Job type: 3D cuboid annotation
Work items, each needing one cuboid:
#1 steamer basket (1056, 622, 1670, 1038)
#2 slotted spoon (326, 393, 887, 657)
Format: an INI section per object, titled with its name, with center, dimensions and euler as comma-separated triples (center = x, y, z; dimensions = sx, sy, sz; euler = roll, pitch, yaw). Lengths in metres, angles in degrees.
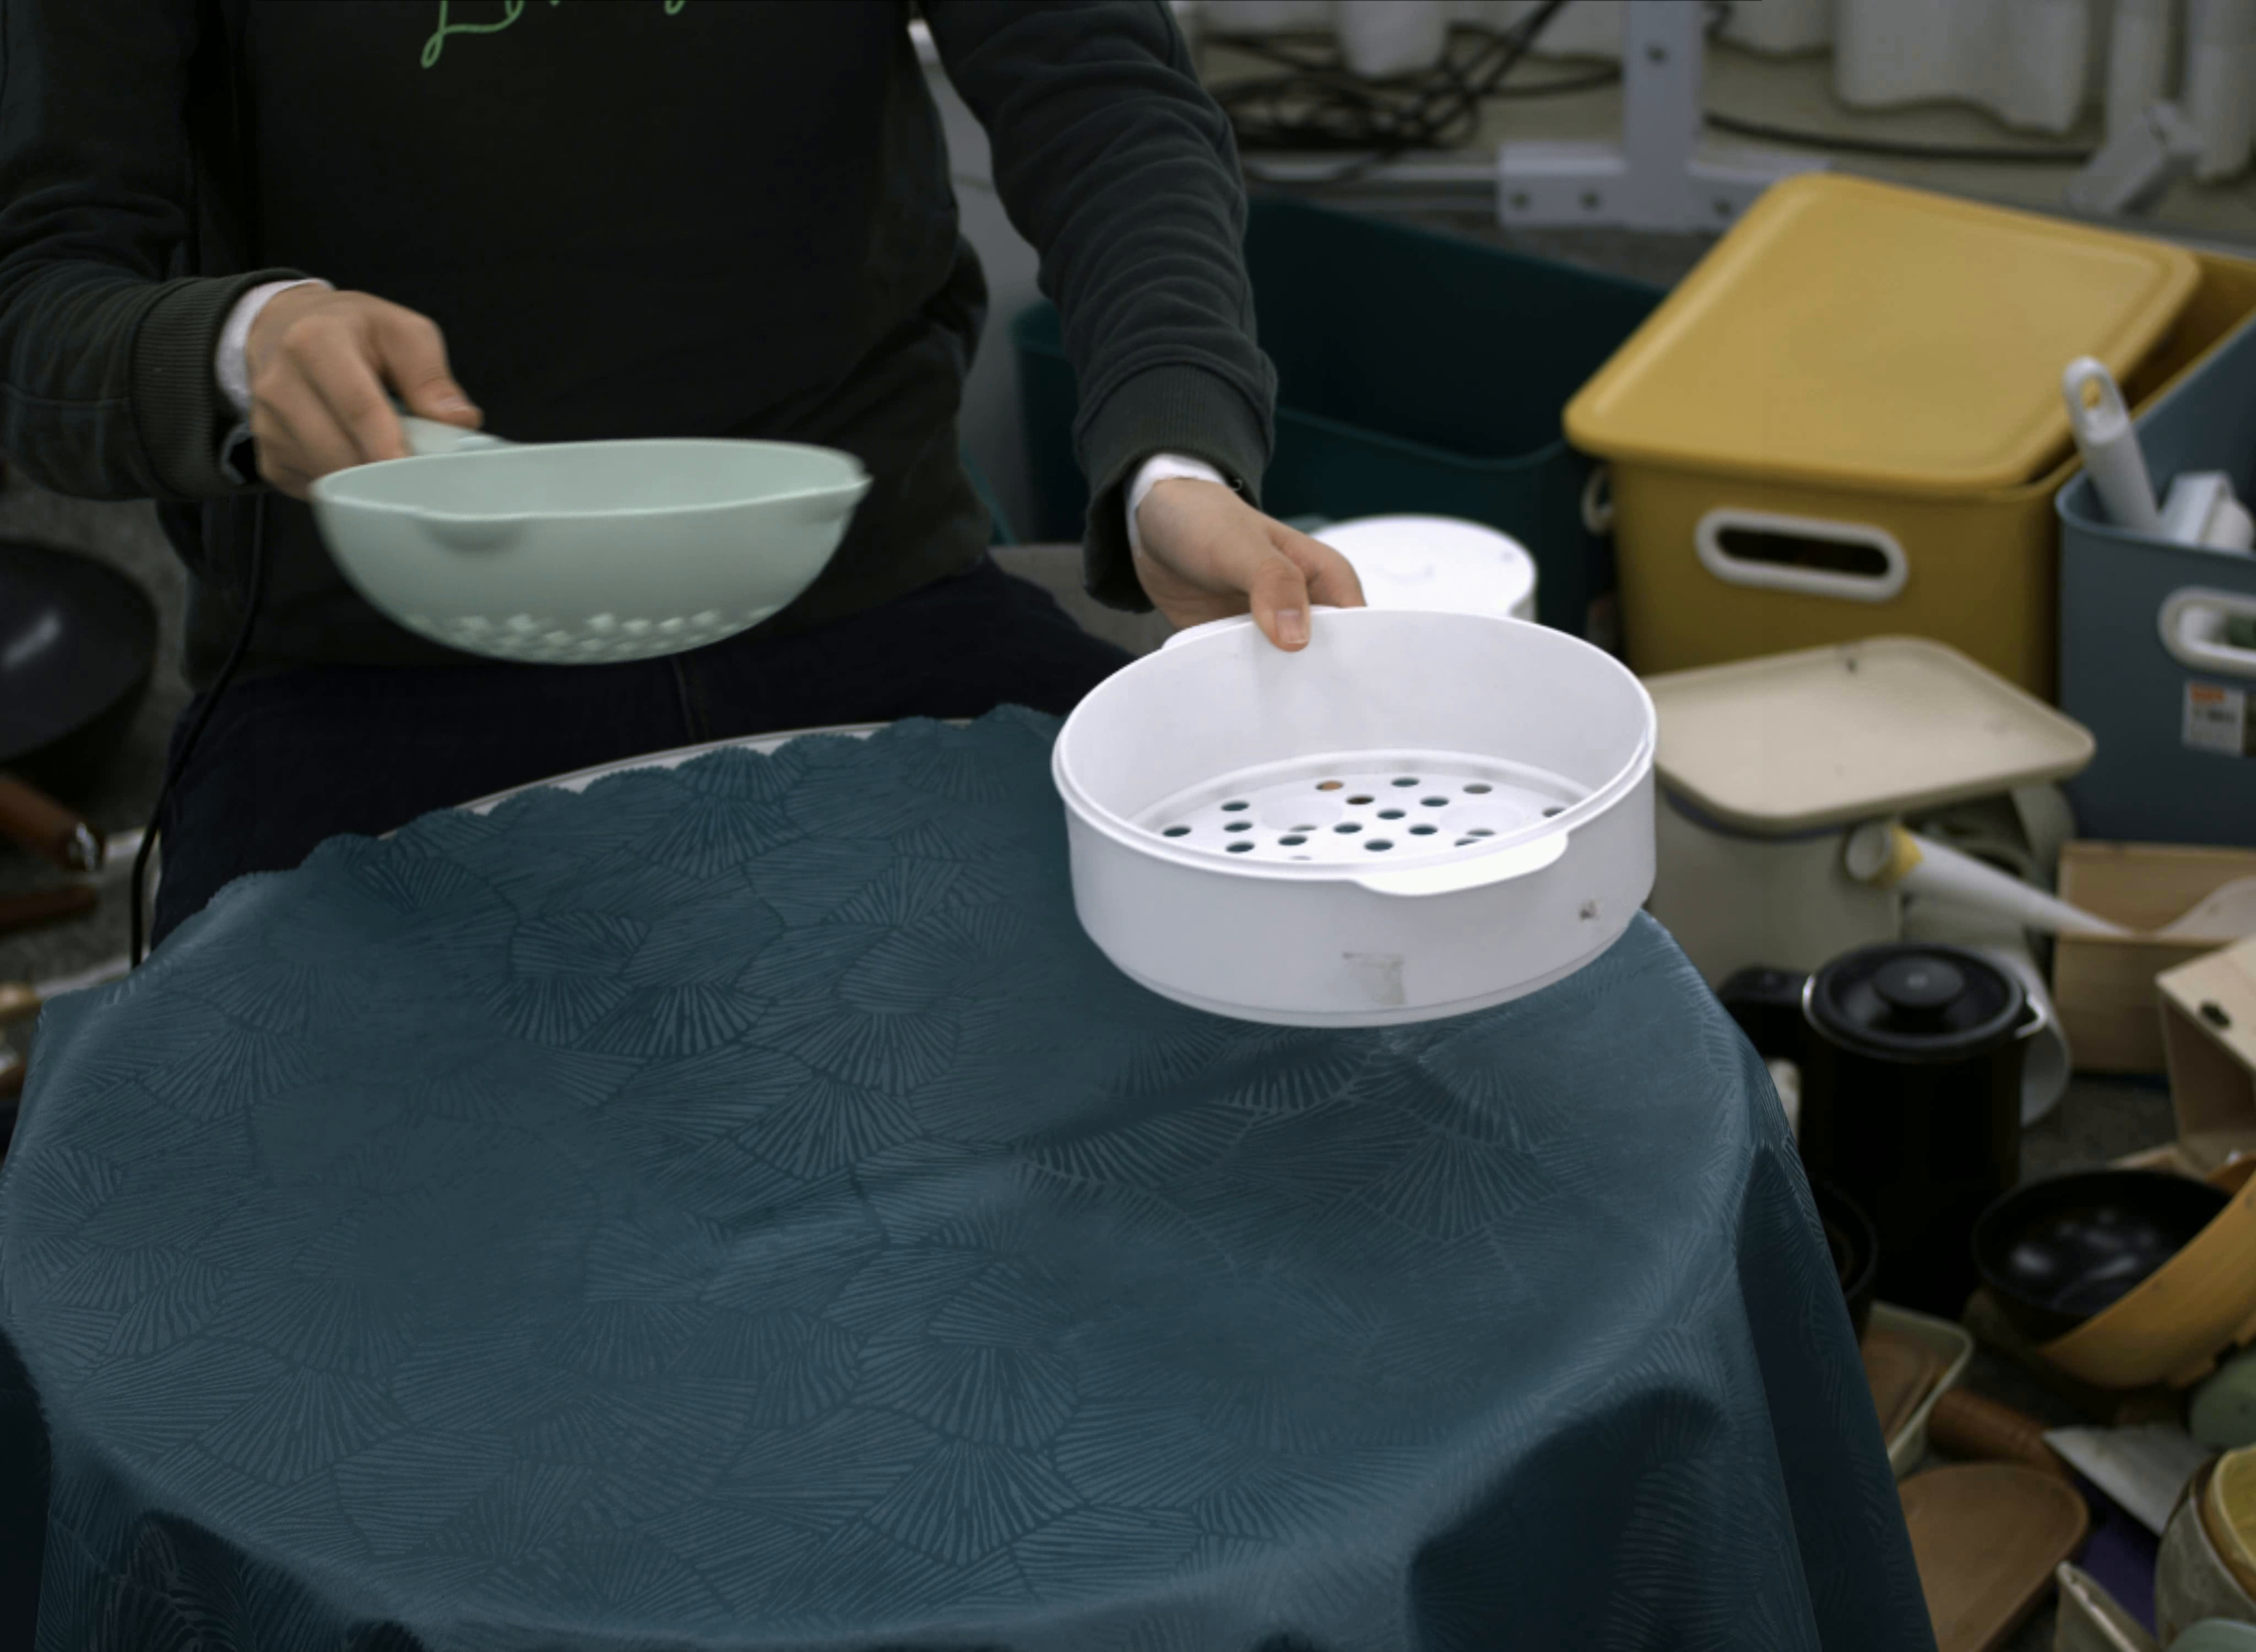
[steamer basket]
center = 0.078, 0.001, 1.853
dimensions = 0.202, 0.068, 0.232
euler = -11, 26, -16
[slotted spoon]
center = -0.203, -0.114, 1.839
dimensions = 0.170, 0.075, 0.360
euler = -6, 19, -25
